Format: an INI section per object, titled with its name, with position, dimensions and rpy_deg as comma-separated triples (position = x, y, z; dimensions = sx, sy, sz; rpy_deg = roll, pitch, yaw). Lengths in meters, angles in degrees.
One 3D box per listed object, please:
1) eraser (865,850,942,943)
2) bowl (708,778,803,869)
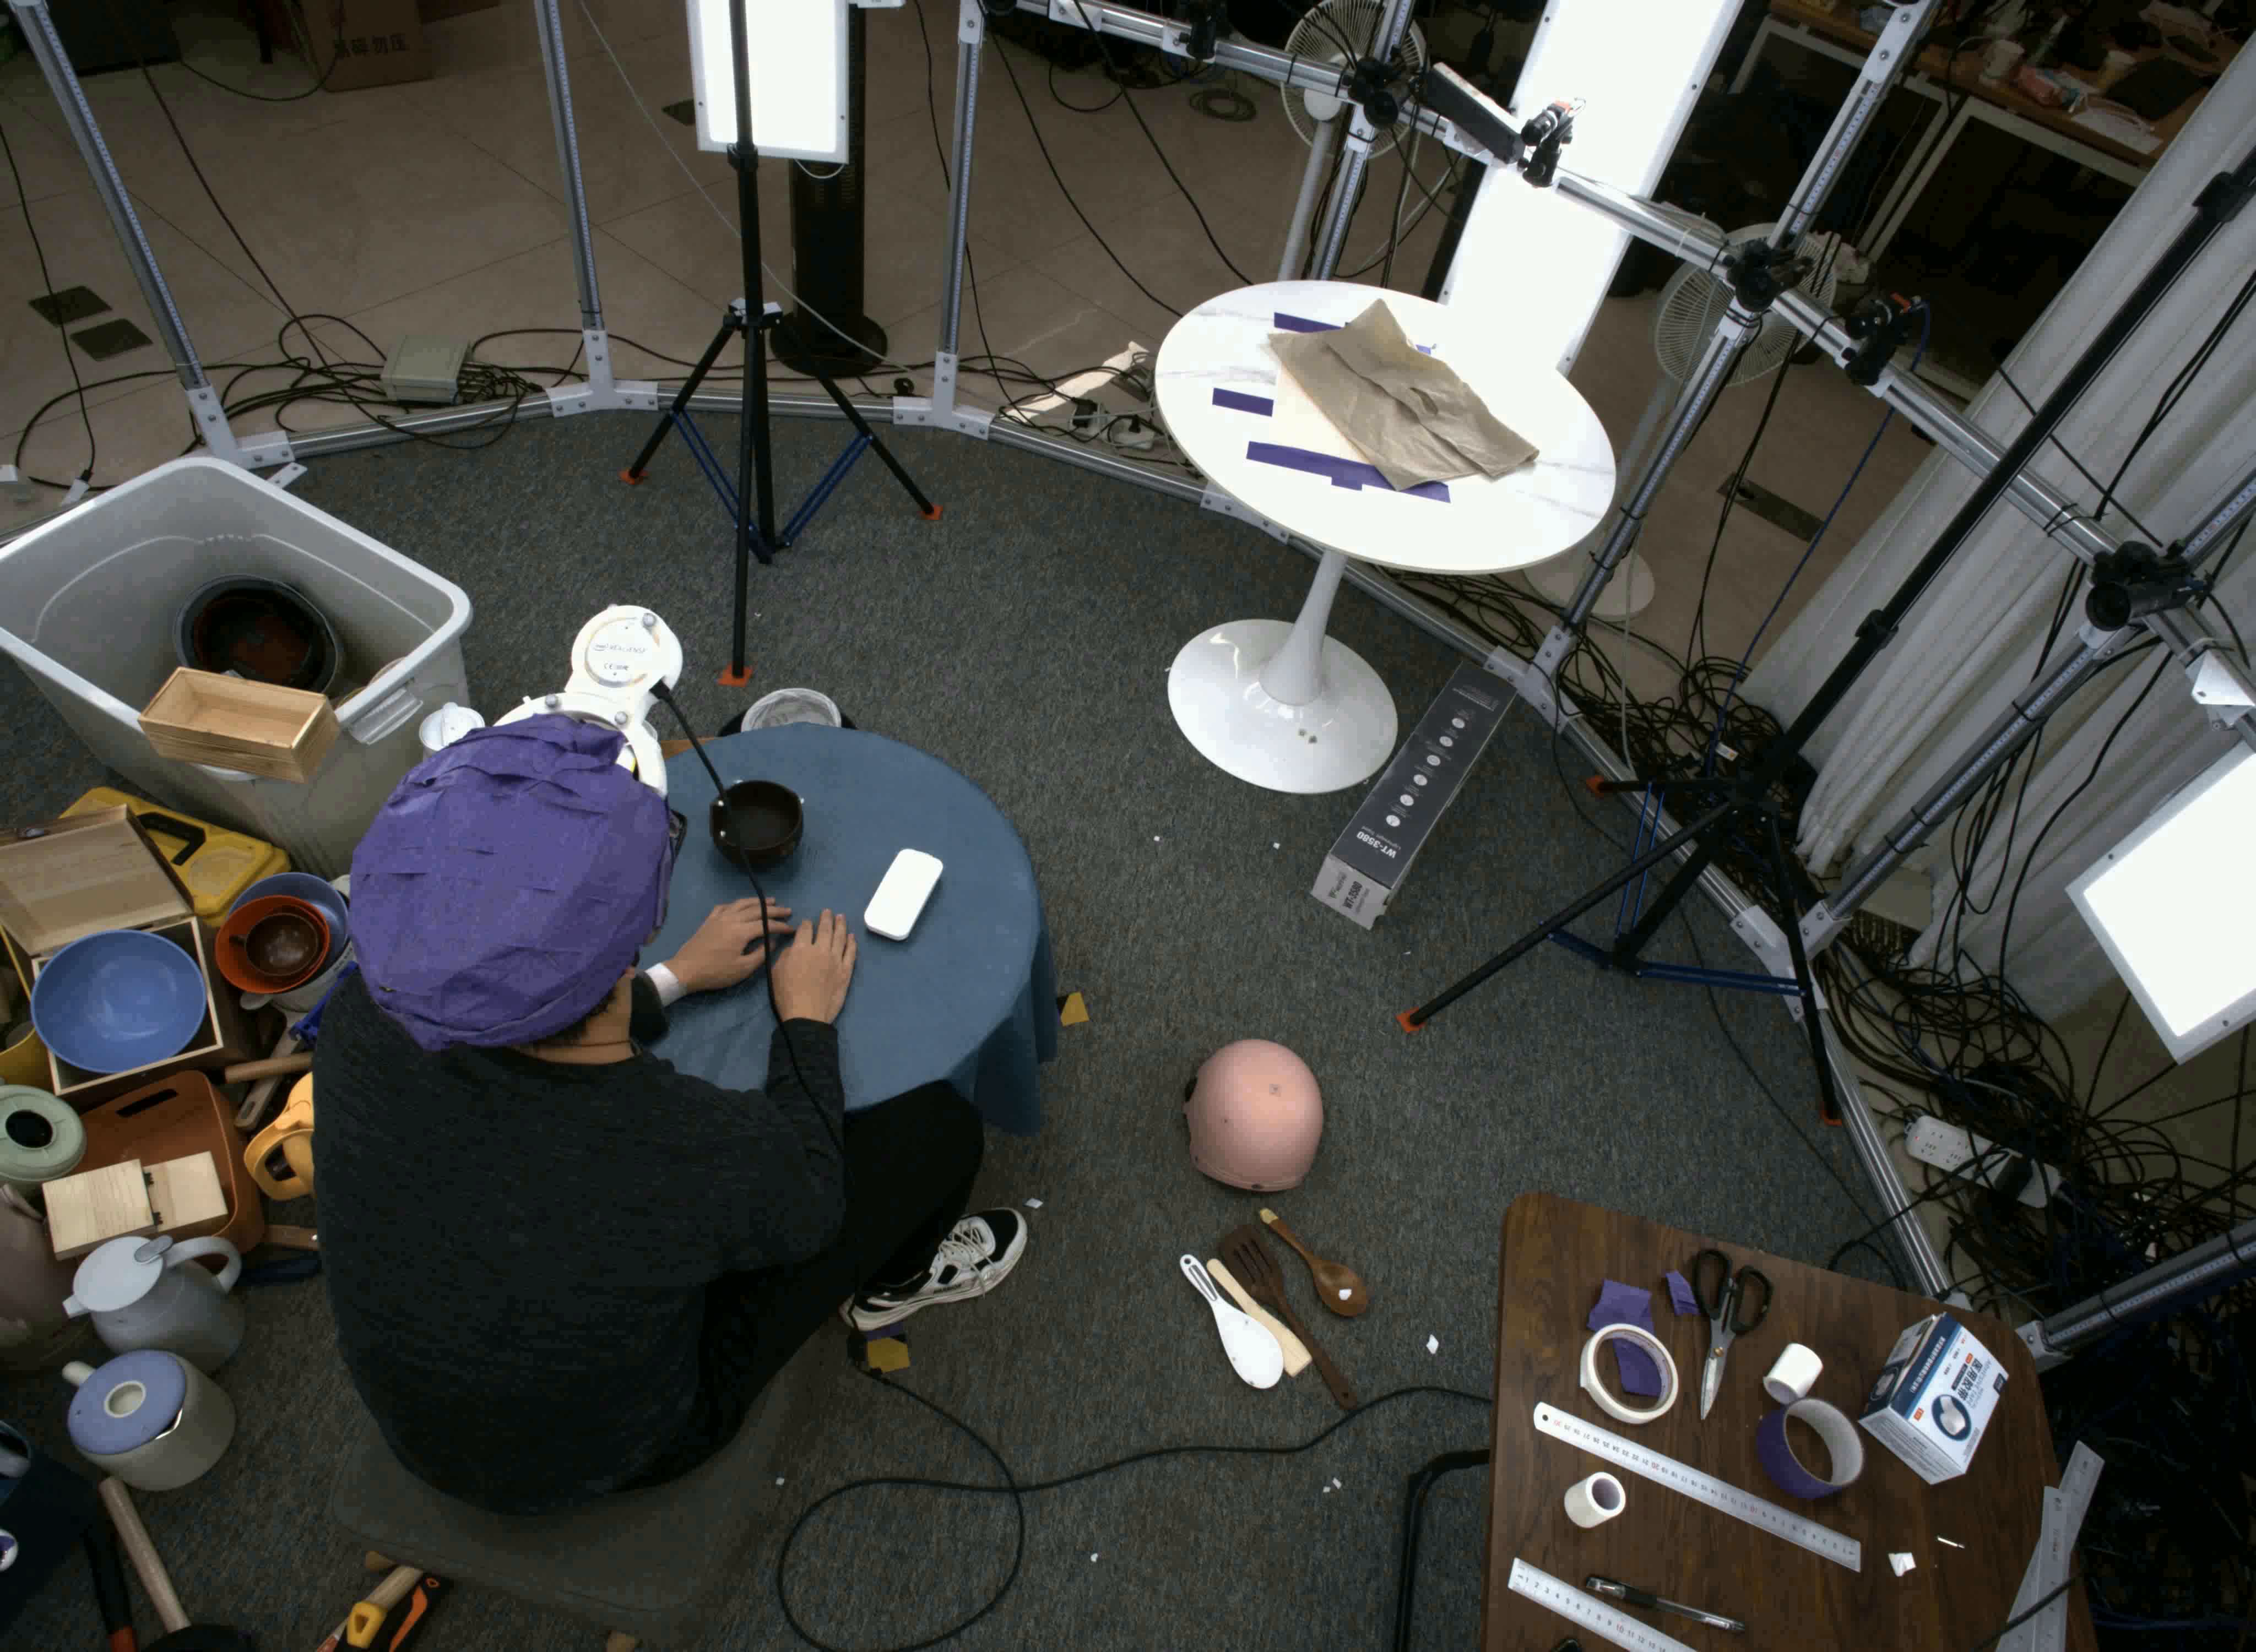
[eraser]
position = -0.289, 0.087, 1.670
dimensions = 0.063, 0.035, 0.130
rpy_deg = 21, 51, 3
[bowl]
position = -0.475, 0.004, 1.656
dimensions = 0.118, 0.071, 0.116
rpy_deg = 8, 53, -9
